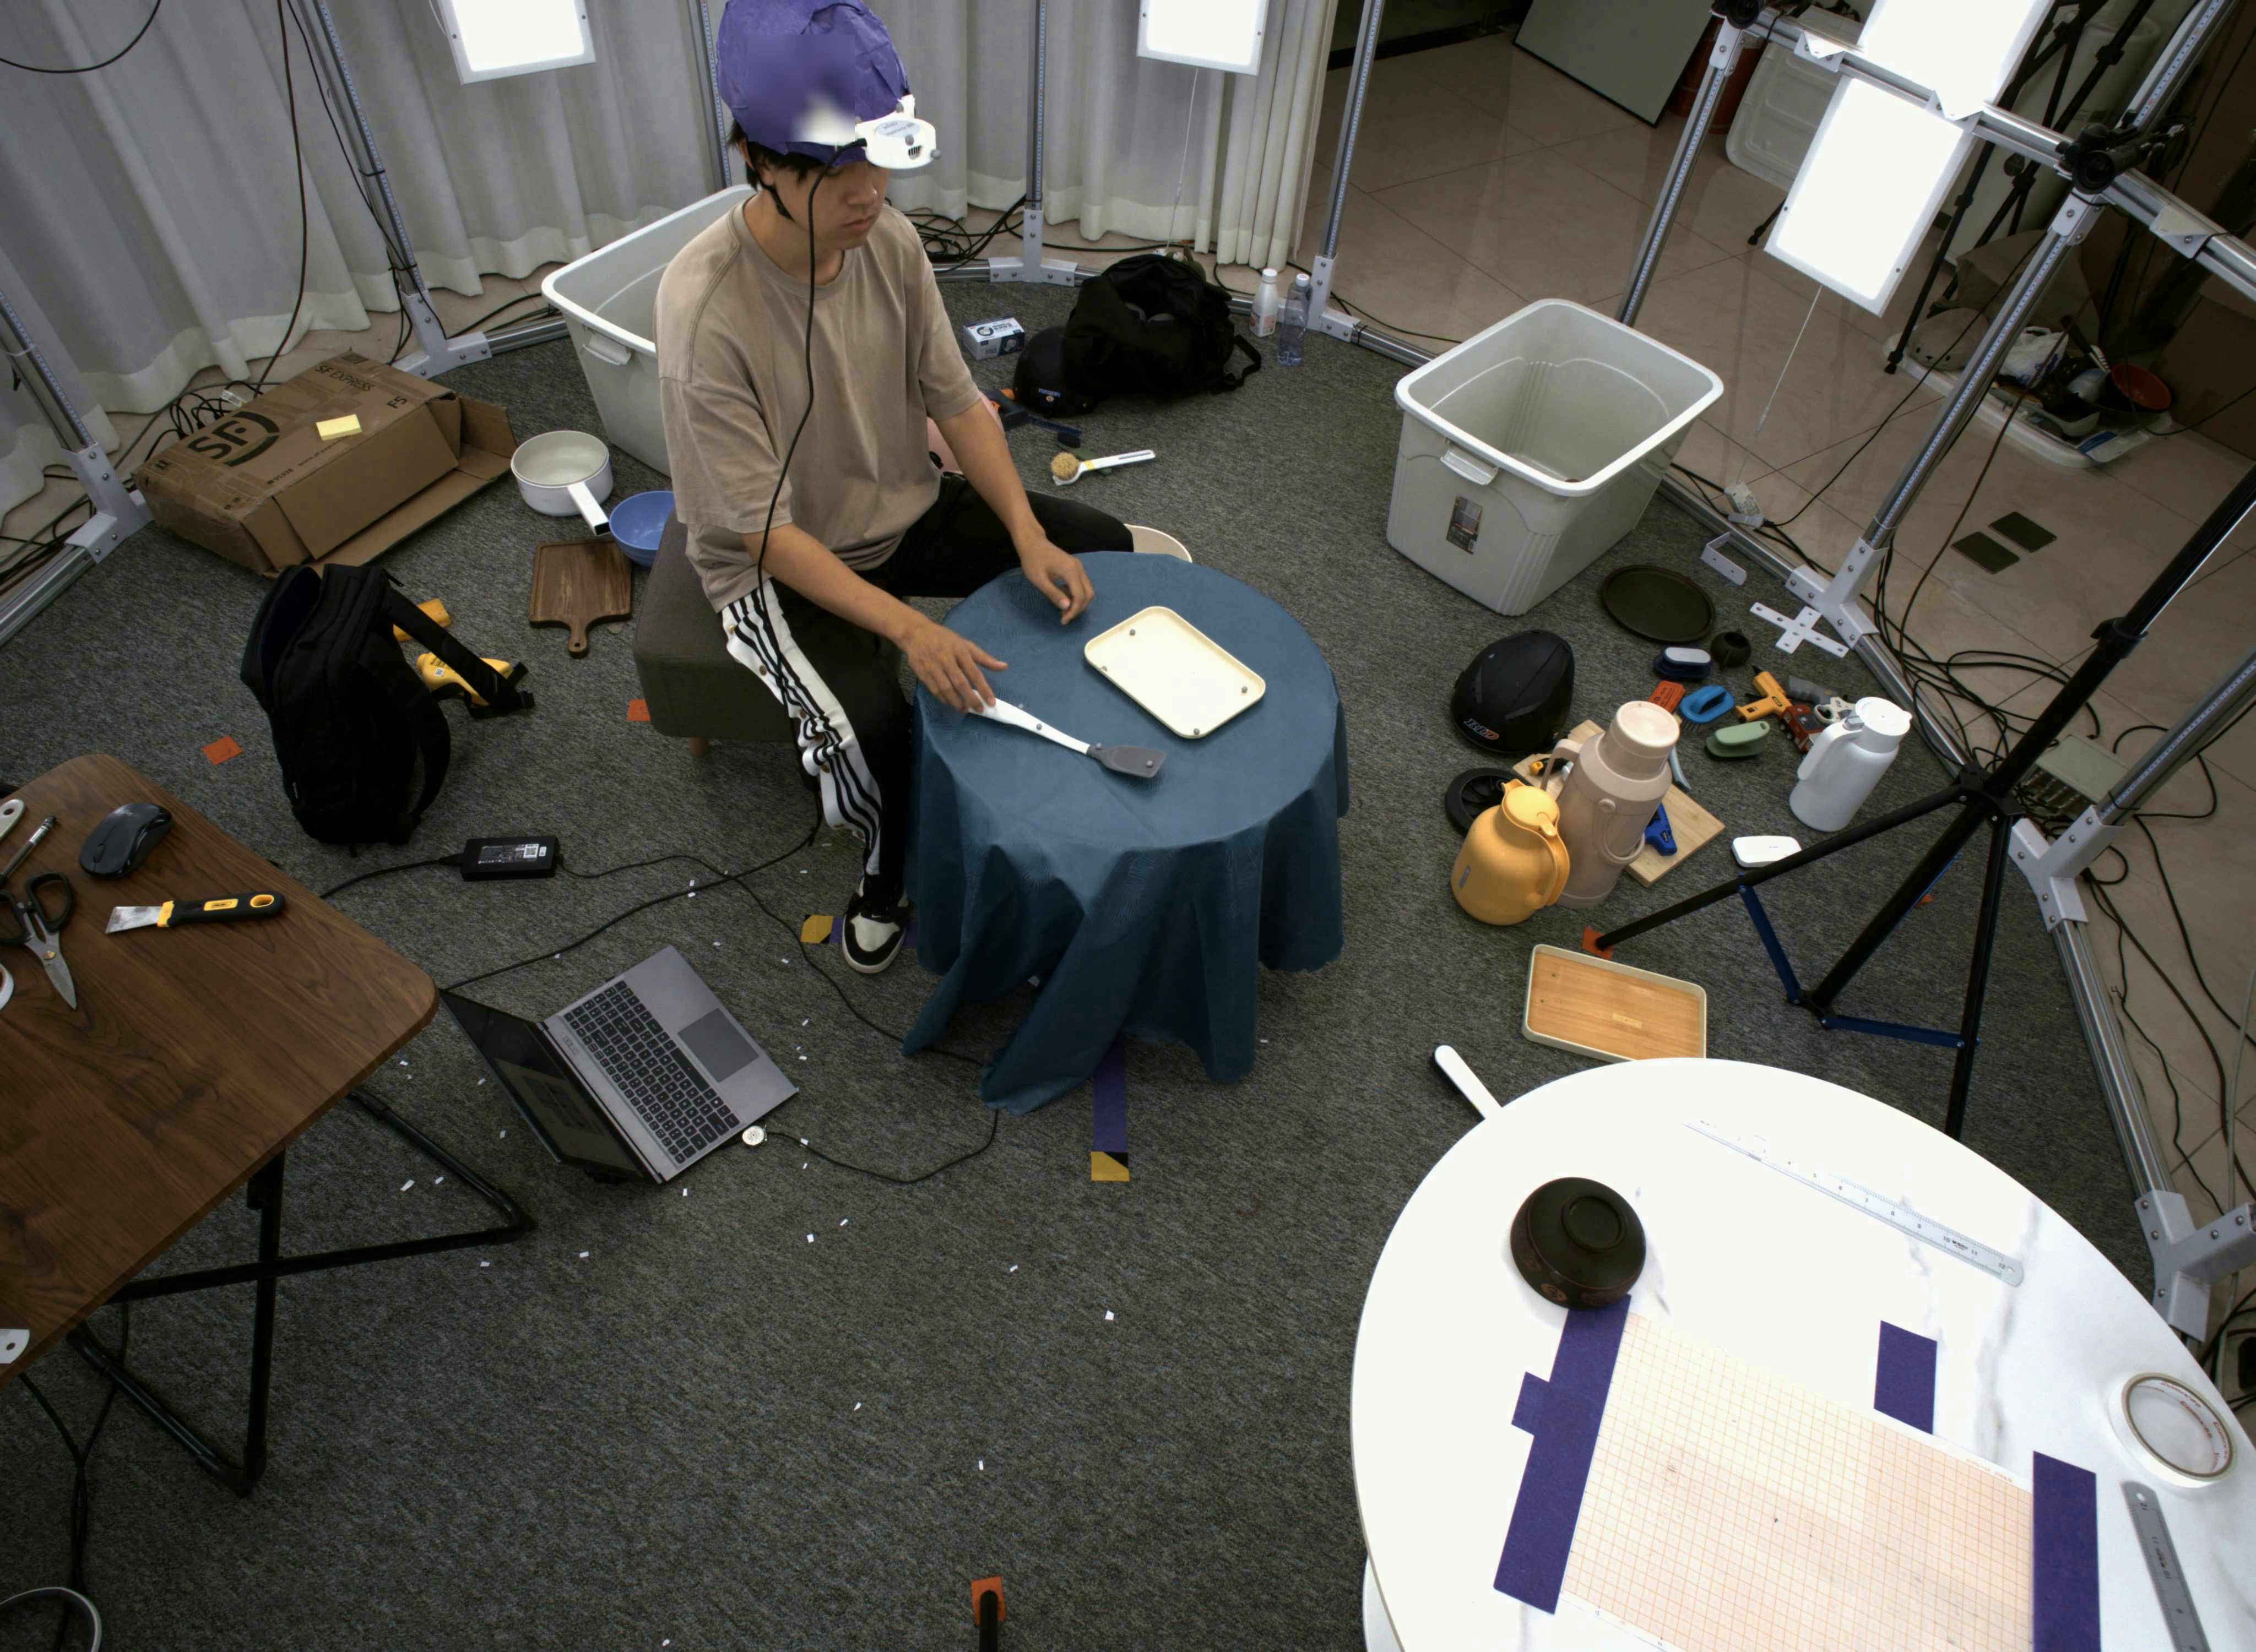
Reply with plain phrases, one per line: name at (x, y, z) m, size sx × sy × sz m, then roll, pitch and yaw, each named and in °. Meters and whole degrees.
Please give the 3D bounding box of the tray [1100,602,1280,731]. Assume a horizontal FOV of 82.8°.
tray at (0.088, -0.231, 1.851) m, size 0.172 × 0.017 × 0.243 m, roll -32°, pitch 59°, yaw -30°

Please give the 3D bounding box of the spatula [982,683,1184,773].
spatula at (-0.063, -0.132, 1.738) m, size 0.289 × 0.031 × 0.060 m, roll 21°, pitch 46°, yaw 13°
